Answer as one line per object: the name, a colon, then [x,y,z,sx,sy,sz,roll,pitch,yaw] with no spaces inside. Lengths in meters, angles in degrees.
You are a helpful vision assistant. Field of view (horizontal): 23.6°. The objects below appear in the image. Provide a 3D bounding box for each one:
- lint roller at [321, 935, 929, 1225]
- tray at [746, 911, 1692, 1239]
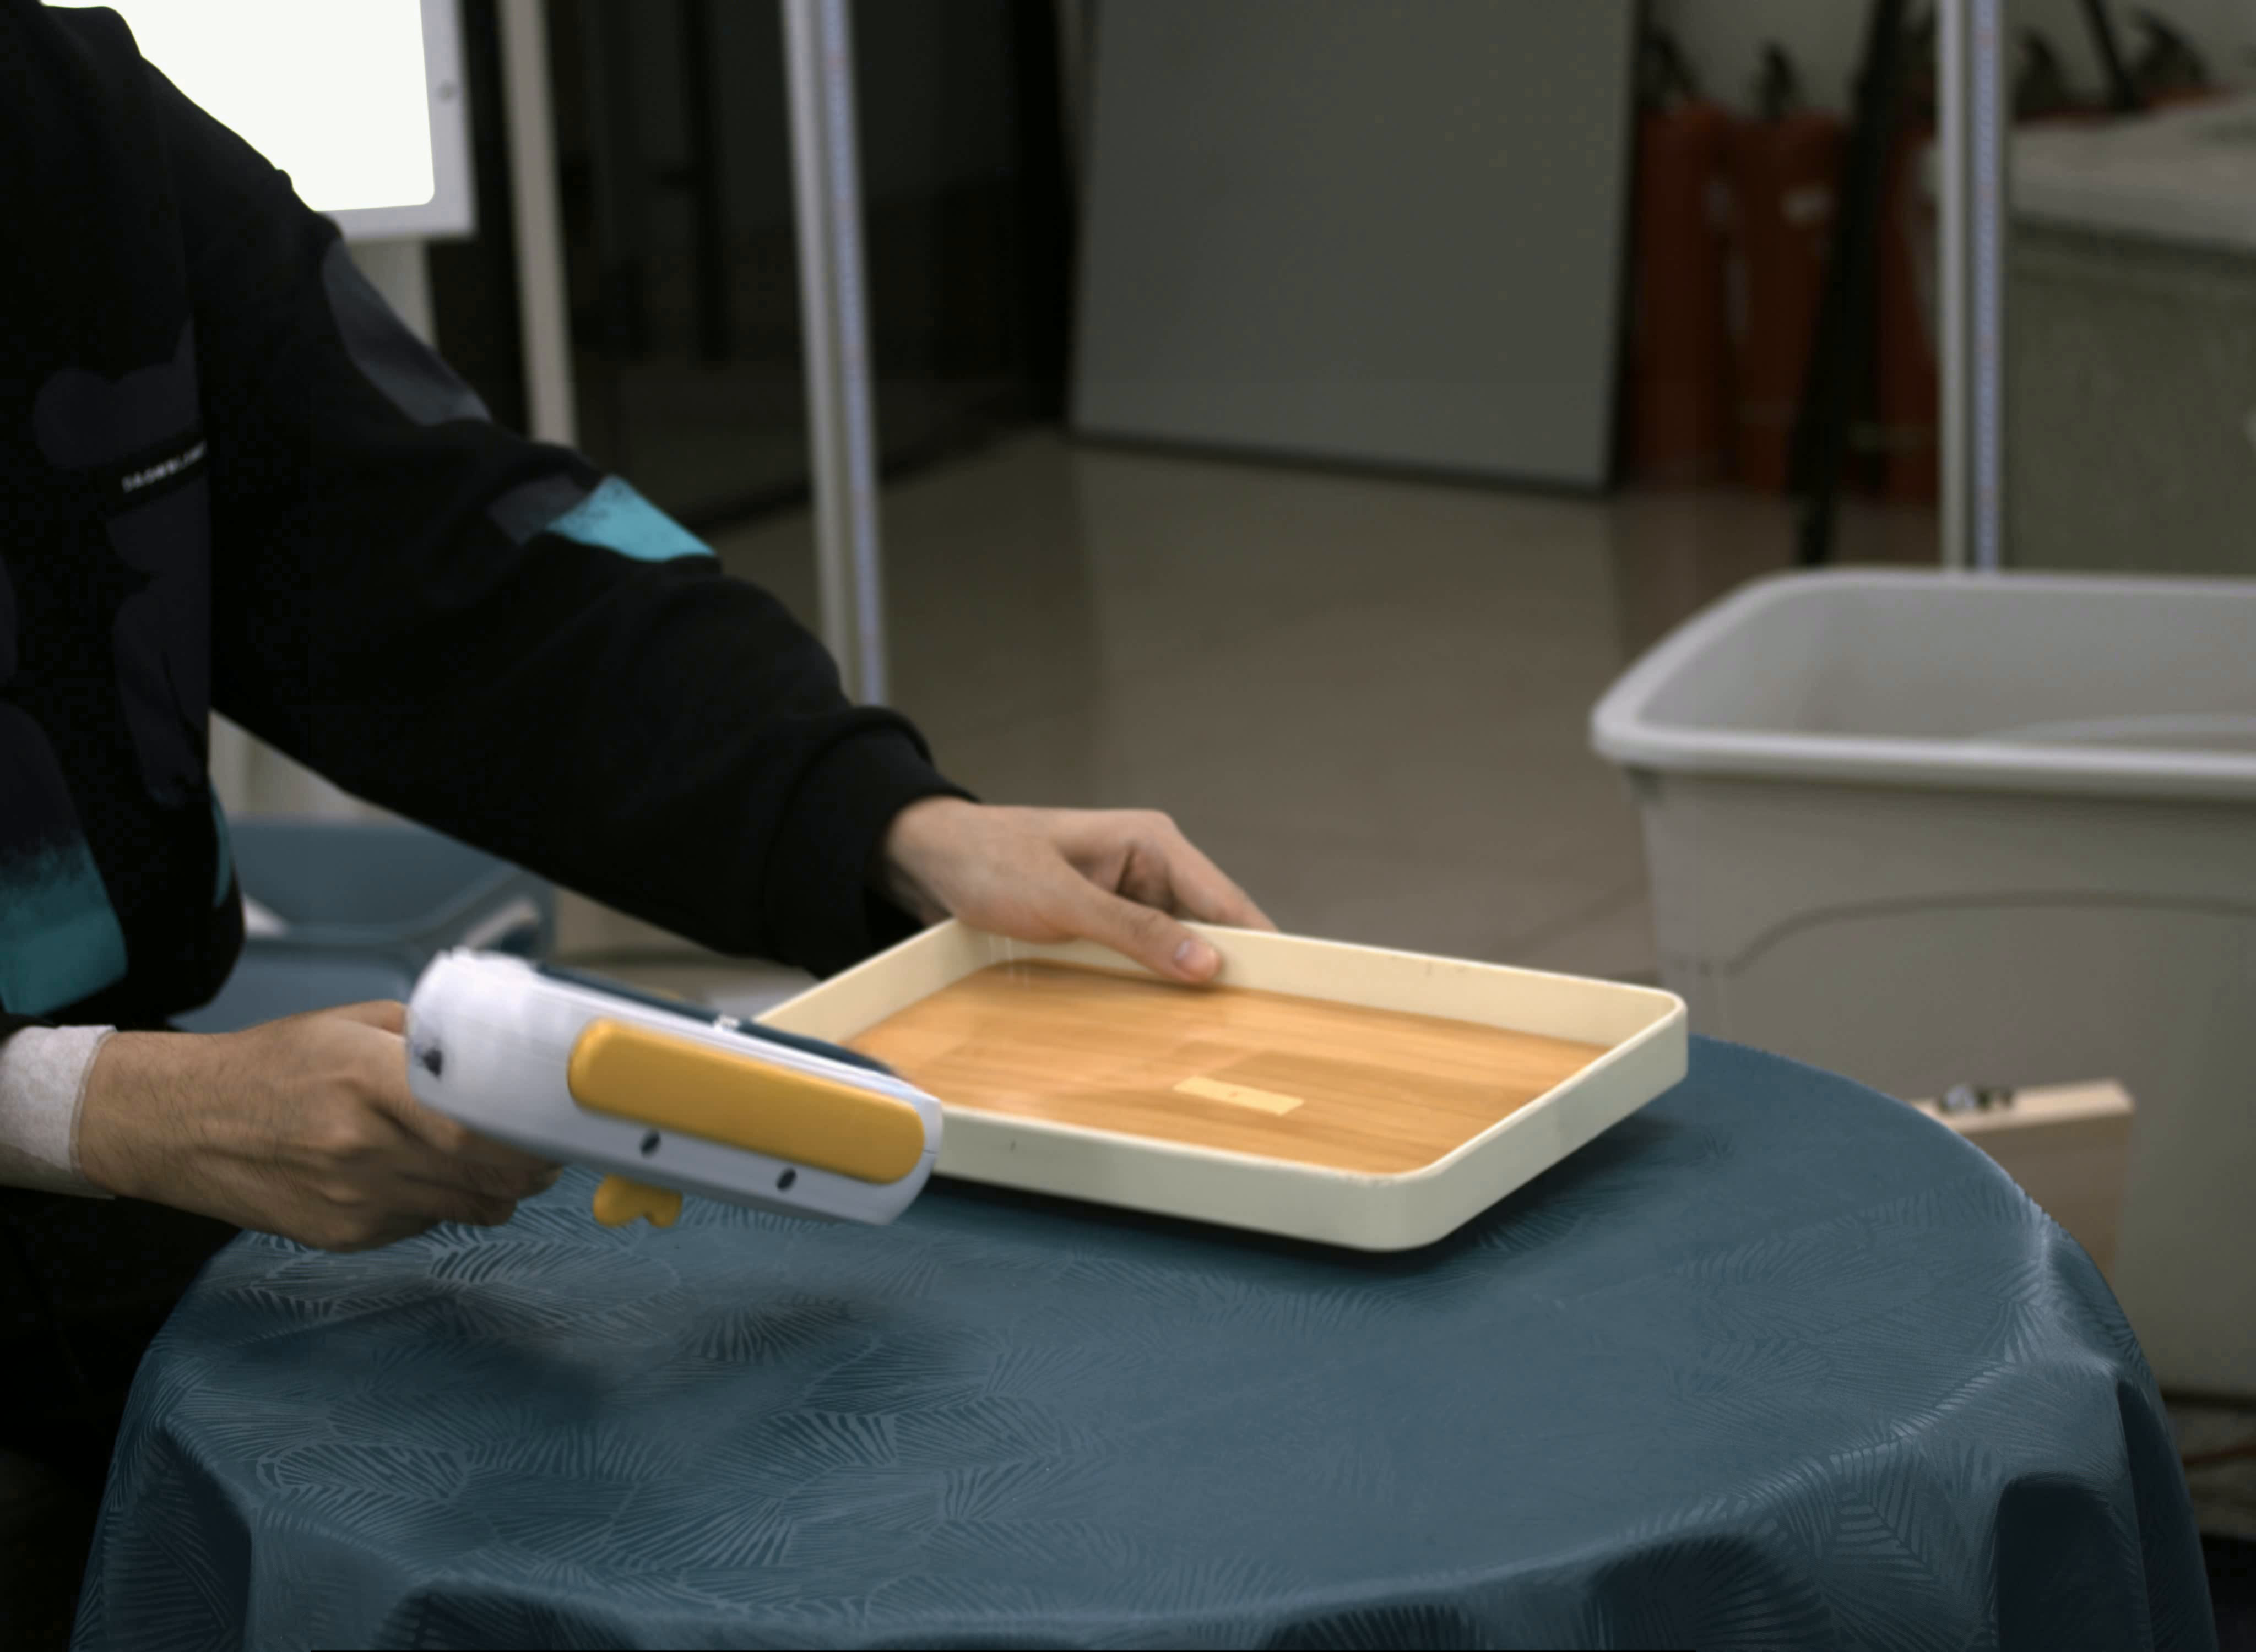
lint roller: [-0.181,0.083,1.663,0.188,0.075,0.194,14,-9,-41]
tray: [0.022,0.080,1.815,0.302,0.028,0.188,7,19,36]
